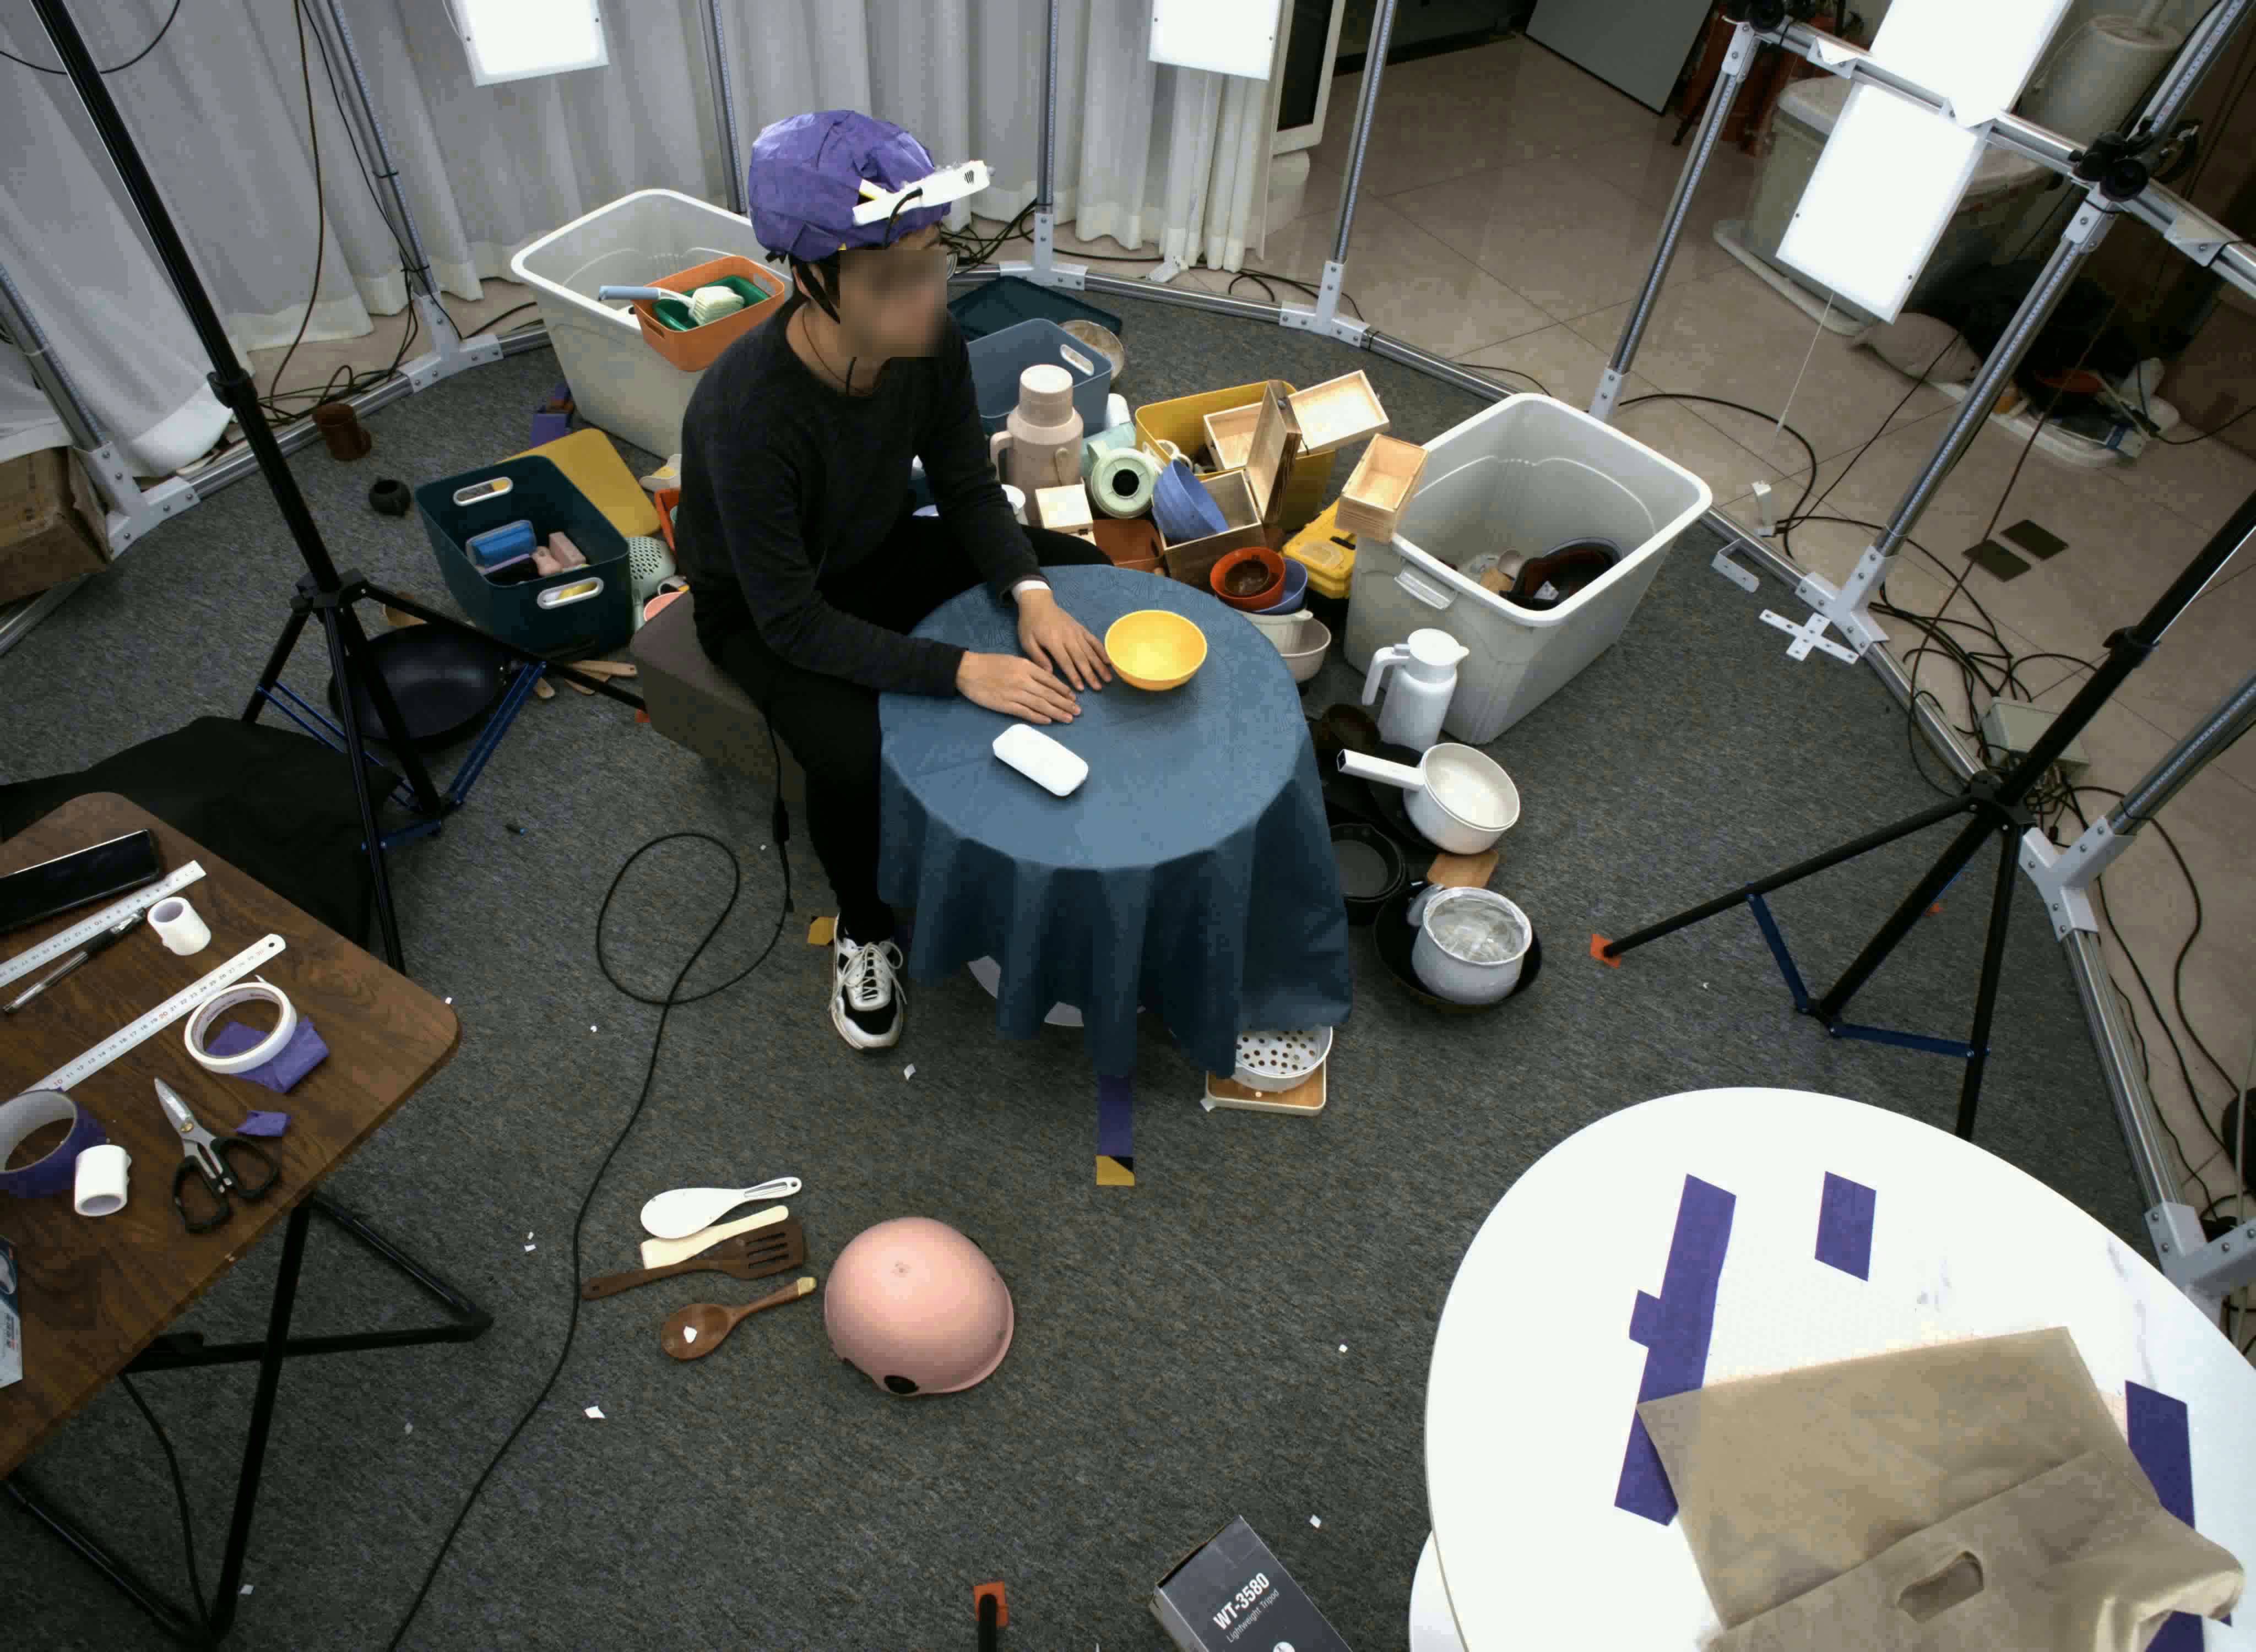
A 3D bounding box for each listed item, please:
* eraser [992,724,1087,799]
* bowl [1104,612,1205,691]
[{"bbox_3d":[-0.118,-0.089,1.720,0.133,0.034,0.064,34,54,22],"label":"eraser"},{"bbox_3d":[0.036,-0.239,1.843,0.145,0.058,0.149,2,48,-3],"label":"bowl"}]
